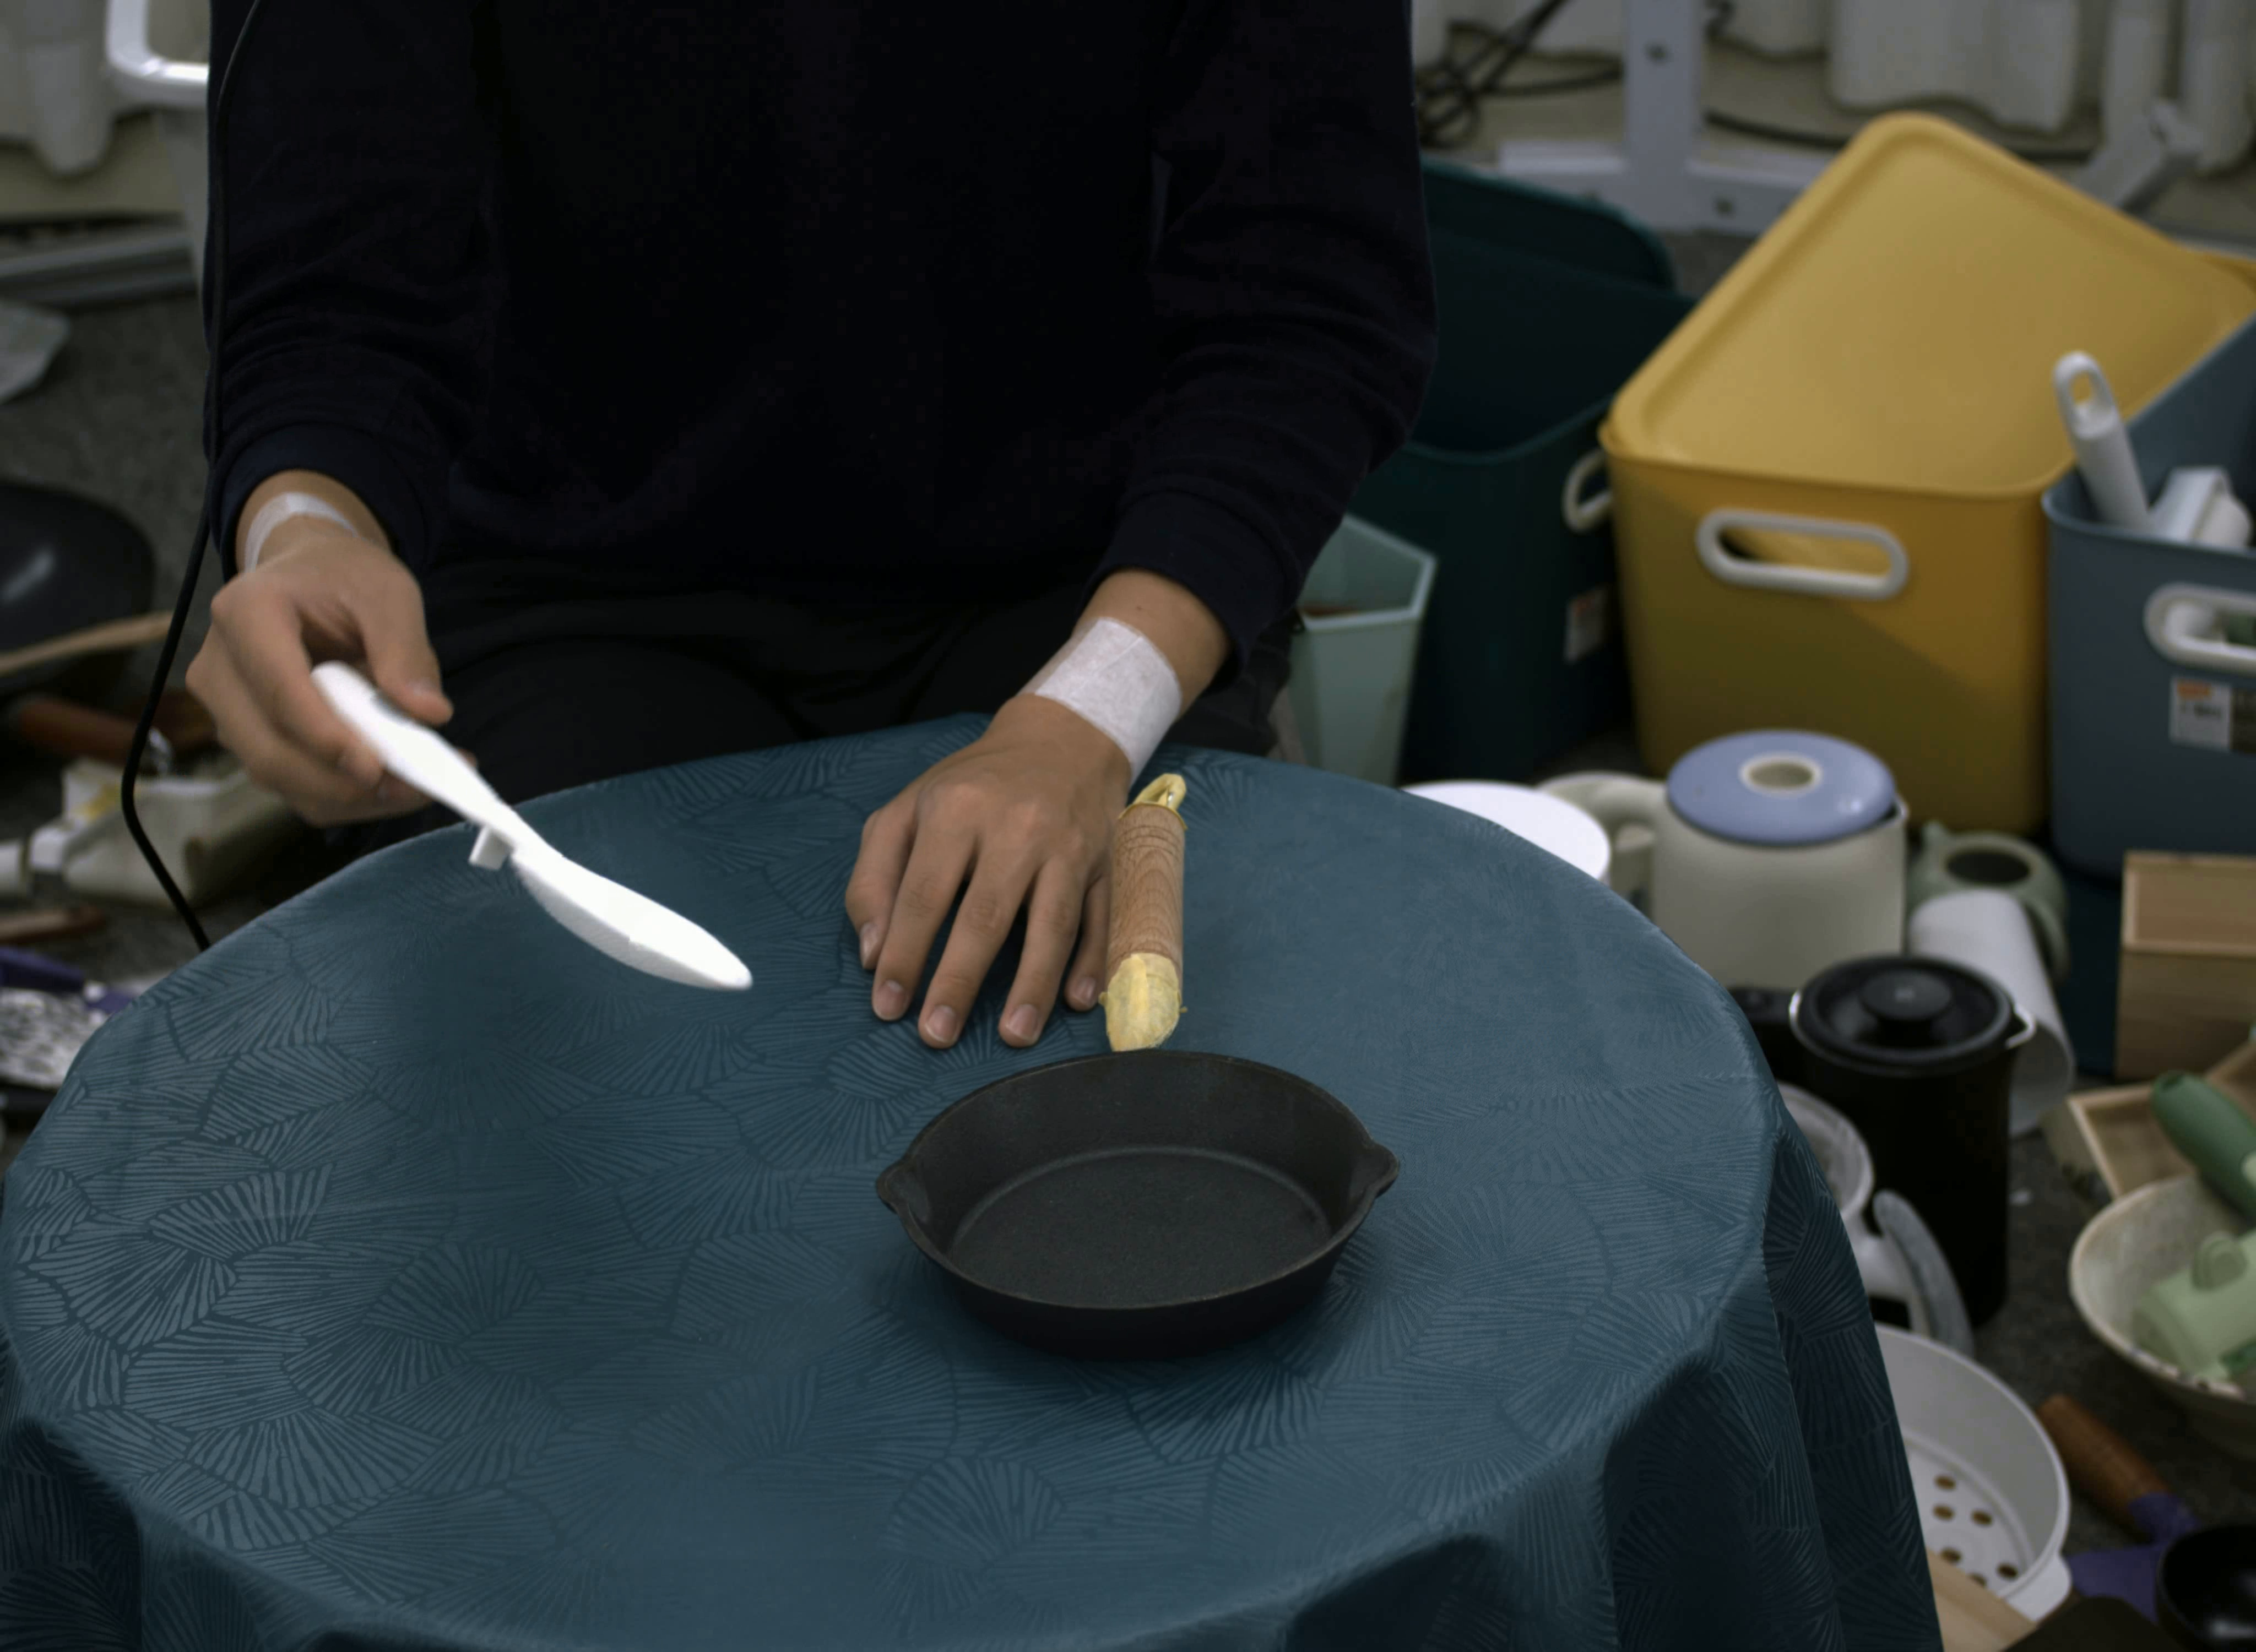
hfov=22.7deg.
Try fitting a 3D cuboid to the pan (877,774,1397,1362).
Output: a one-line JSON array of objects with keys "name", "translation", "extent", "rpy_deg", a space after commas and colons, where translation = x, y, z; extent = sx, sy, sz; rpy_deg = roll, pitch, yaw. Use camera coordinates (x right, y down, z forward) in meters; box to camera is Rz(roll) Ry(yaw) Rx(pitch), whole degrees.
[{"name": "pan", "translation": [0.007, 0.078, 1.890], "extent": [0.168, 0.049, 0.329], "rpy_deg": [-1, 29, 4]}]

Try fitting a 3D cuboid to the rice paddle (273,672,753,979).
[{"name": "rice paddle", "translation": [-0.191, 0.003, 1.749], "extent": [0.205, 0.029, 0.069], "rpy_deg": [29, 10, 37]}]
